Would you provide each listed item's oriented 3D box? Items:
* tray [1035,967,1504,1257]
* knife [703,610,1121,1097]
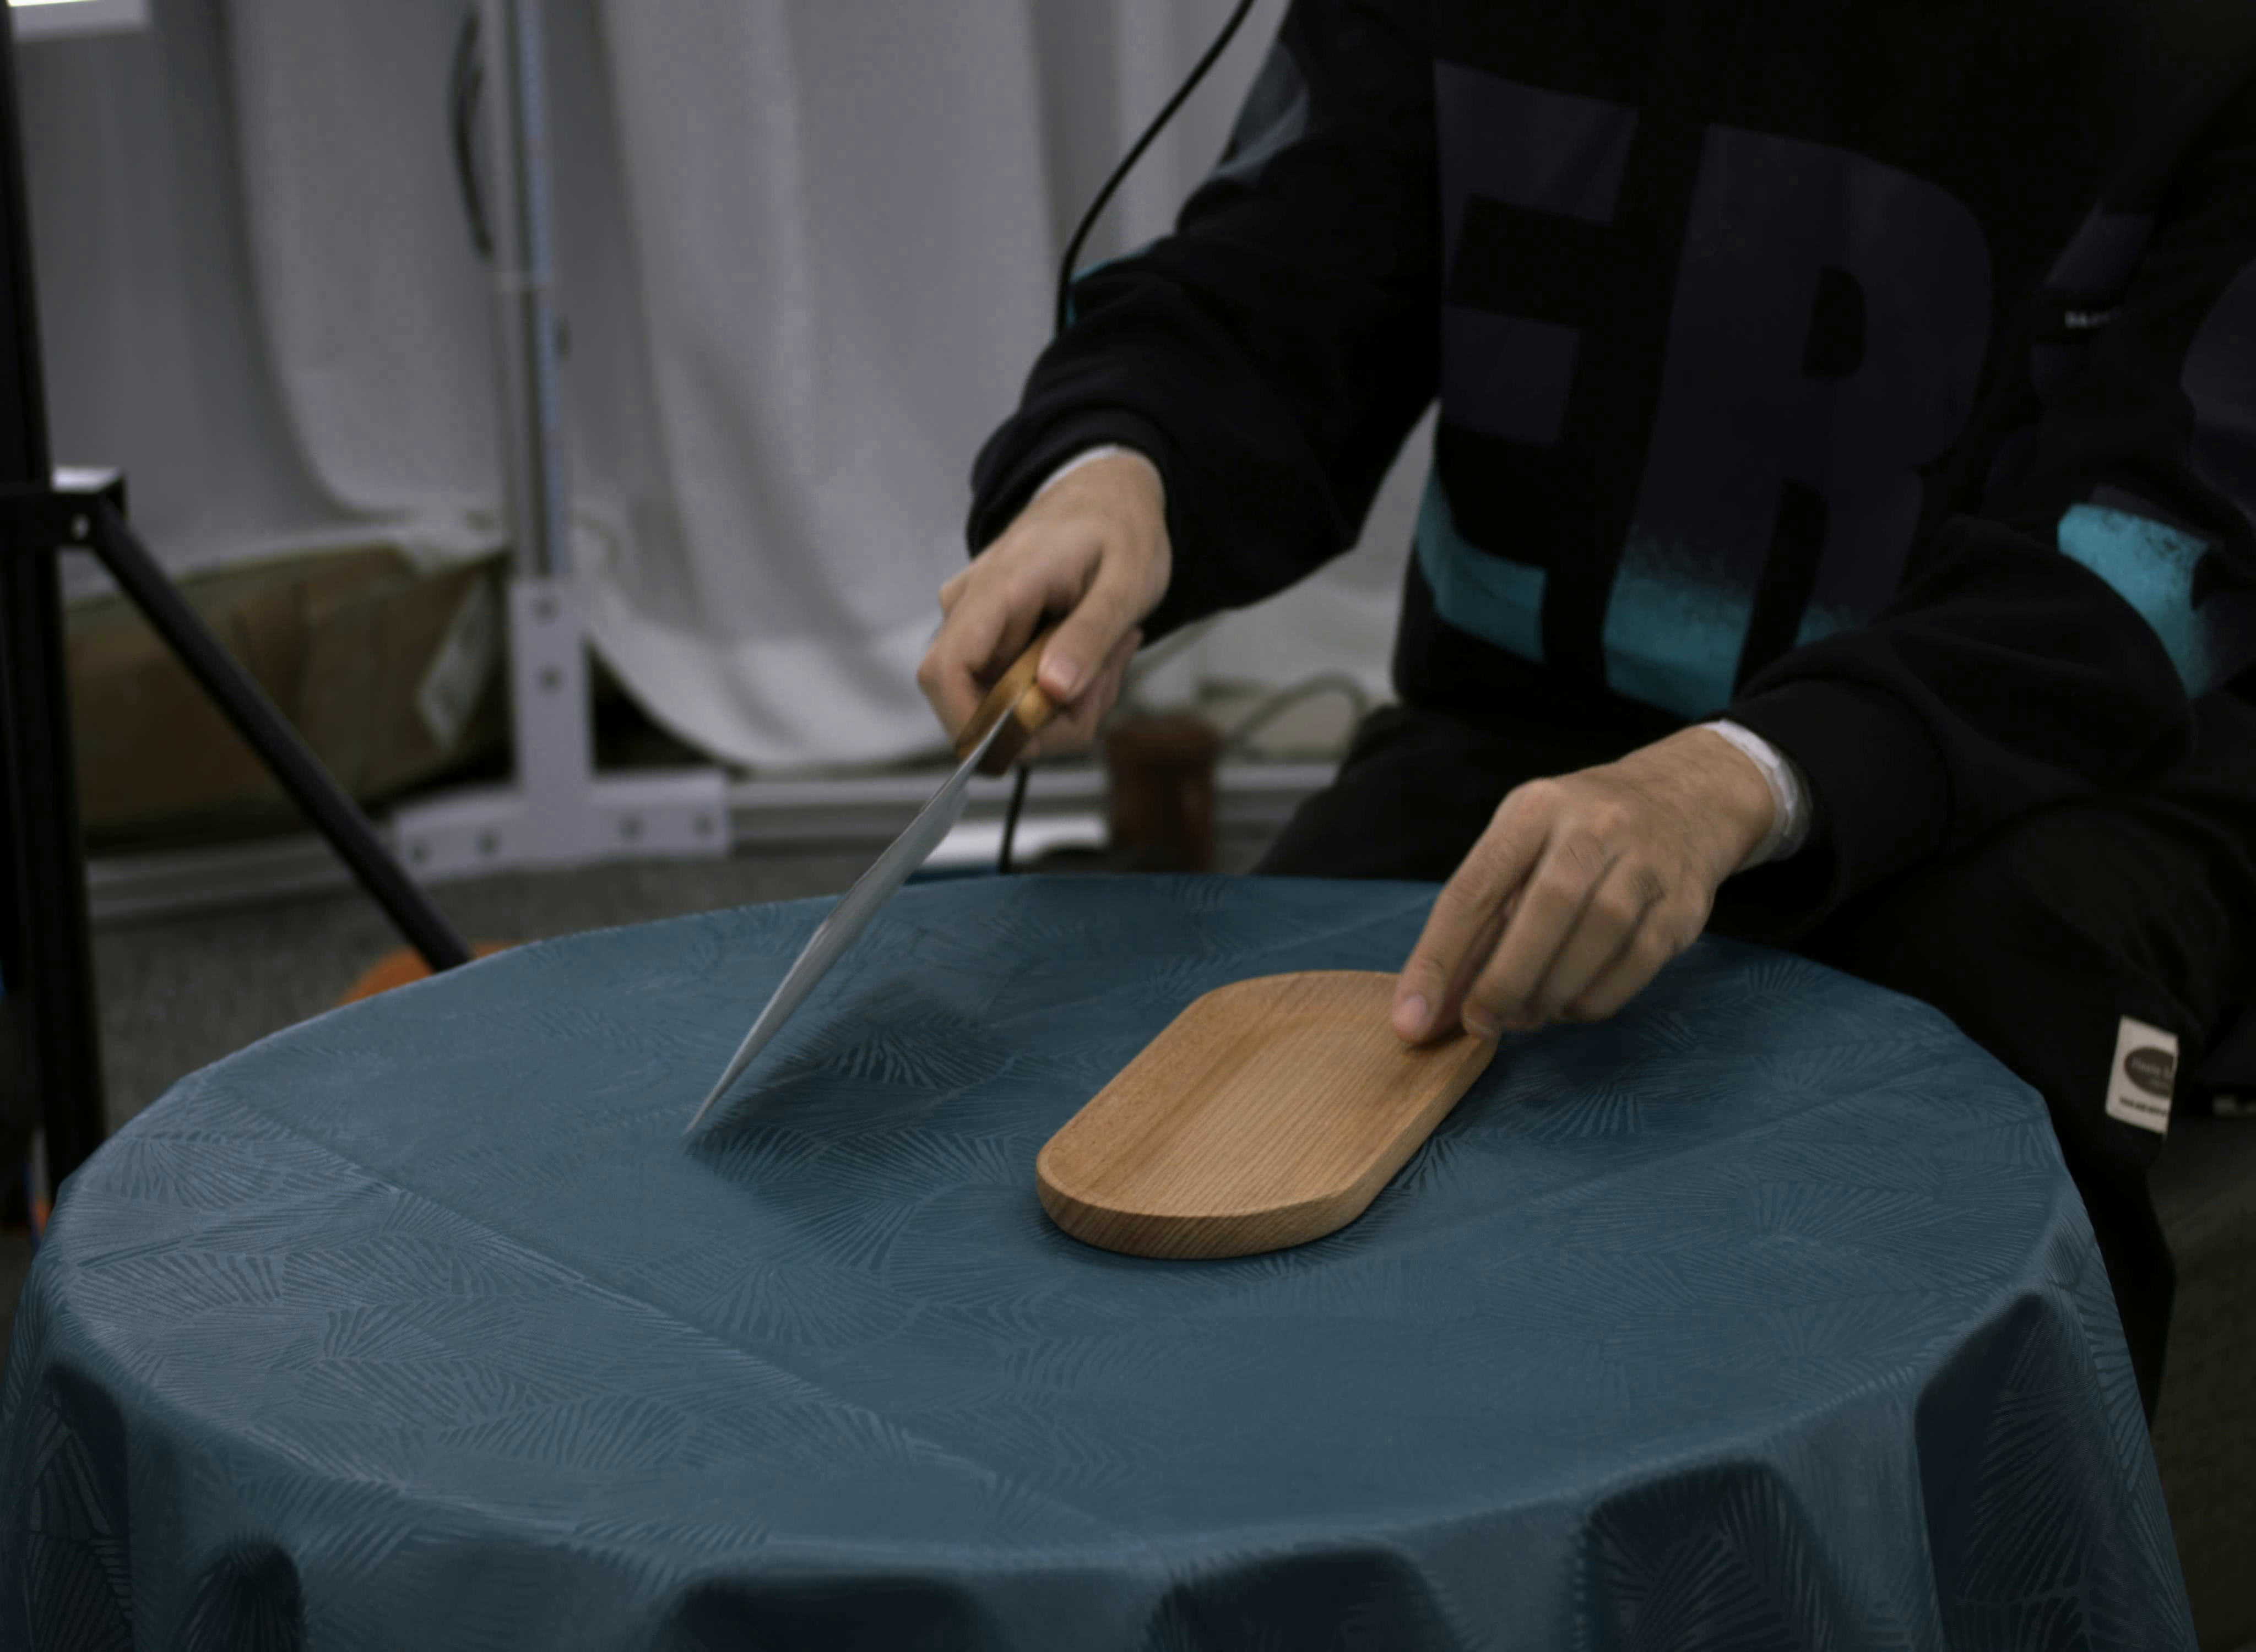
[{"bbox_3d":[0.045,0.084,1.603,0.103,0.020,0.228,4,16,20],"label":"tray"},{"bbox_3d":[-0.070,0.009,1.725,0.021,0.093,0.303,35,28,2],"label":"knife"}]
